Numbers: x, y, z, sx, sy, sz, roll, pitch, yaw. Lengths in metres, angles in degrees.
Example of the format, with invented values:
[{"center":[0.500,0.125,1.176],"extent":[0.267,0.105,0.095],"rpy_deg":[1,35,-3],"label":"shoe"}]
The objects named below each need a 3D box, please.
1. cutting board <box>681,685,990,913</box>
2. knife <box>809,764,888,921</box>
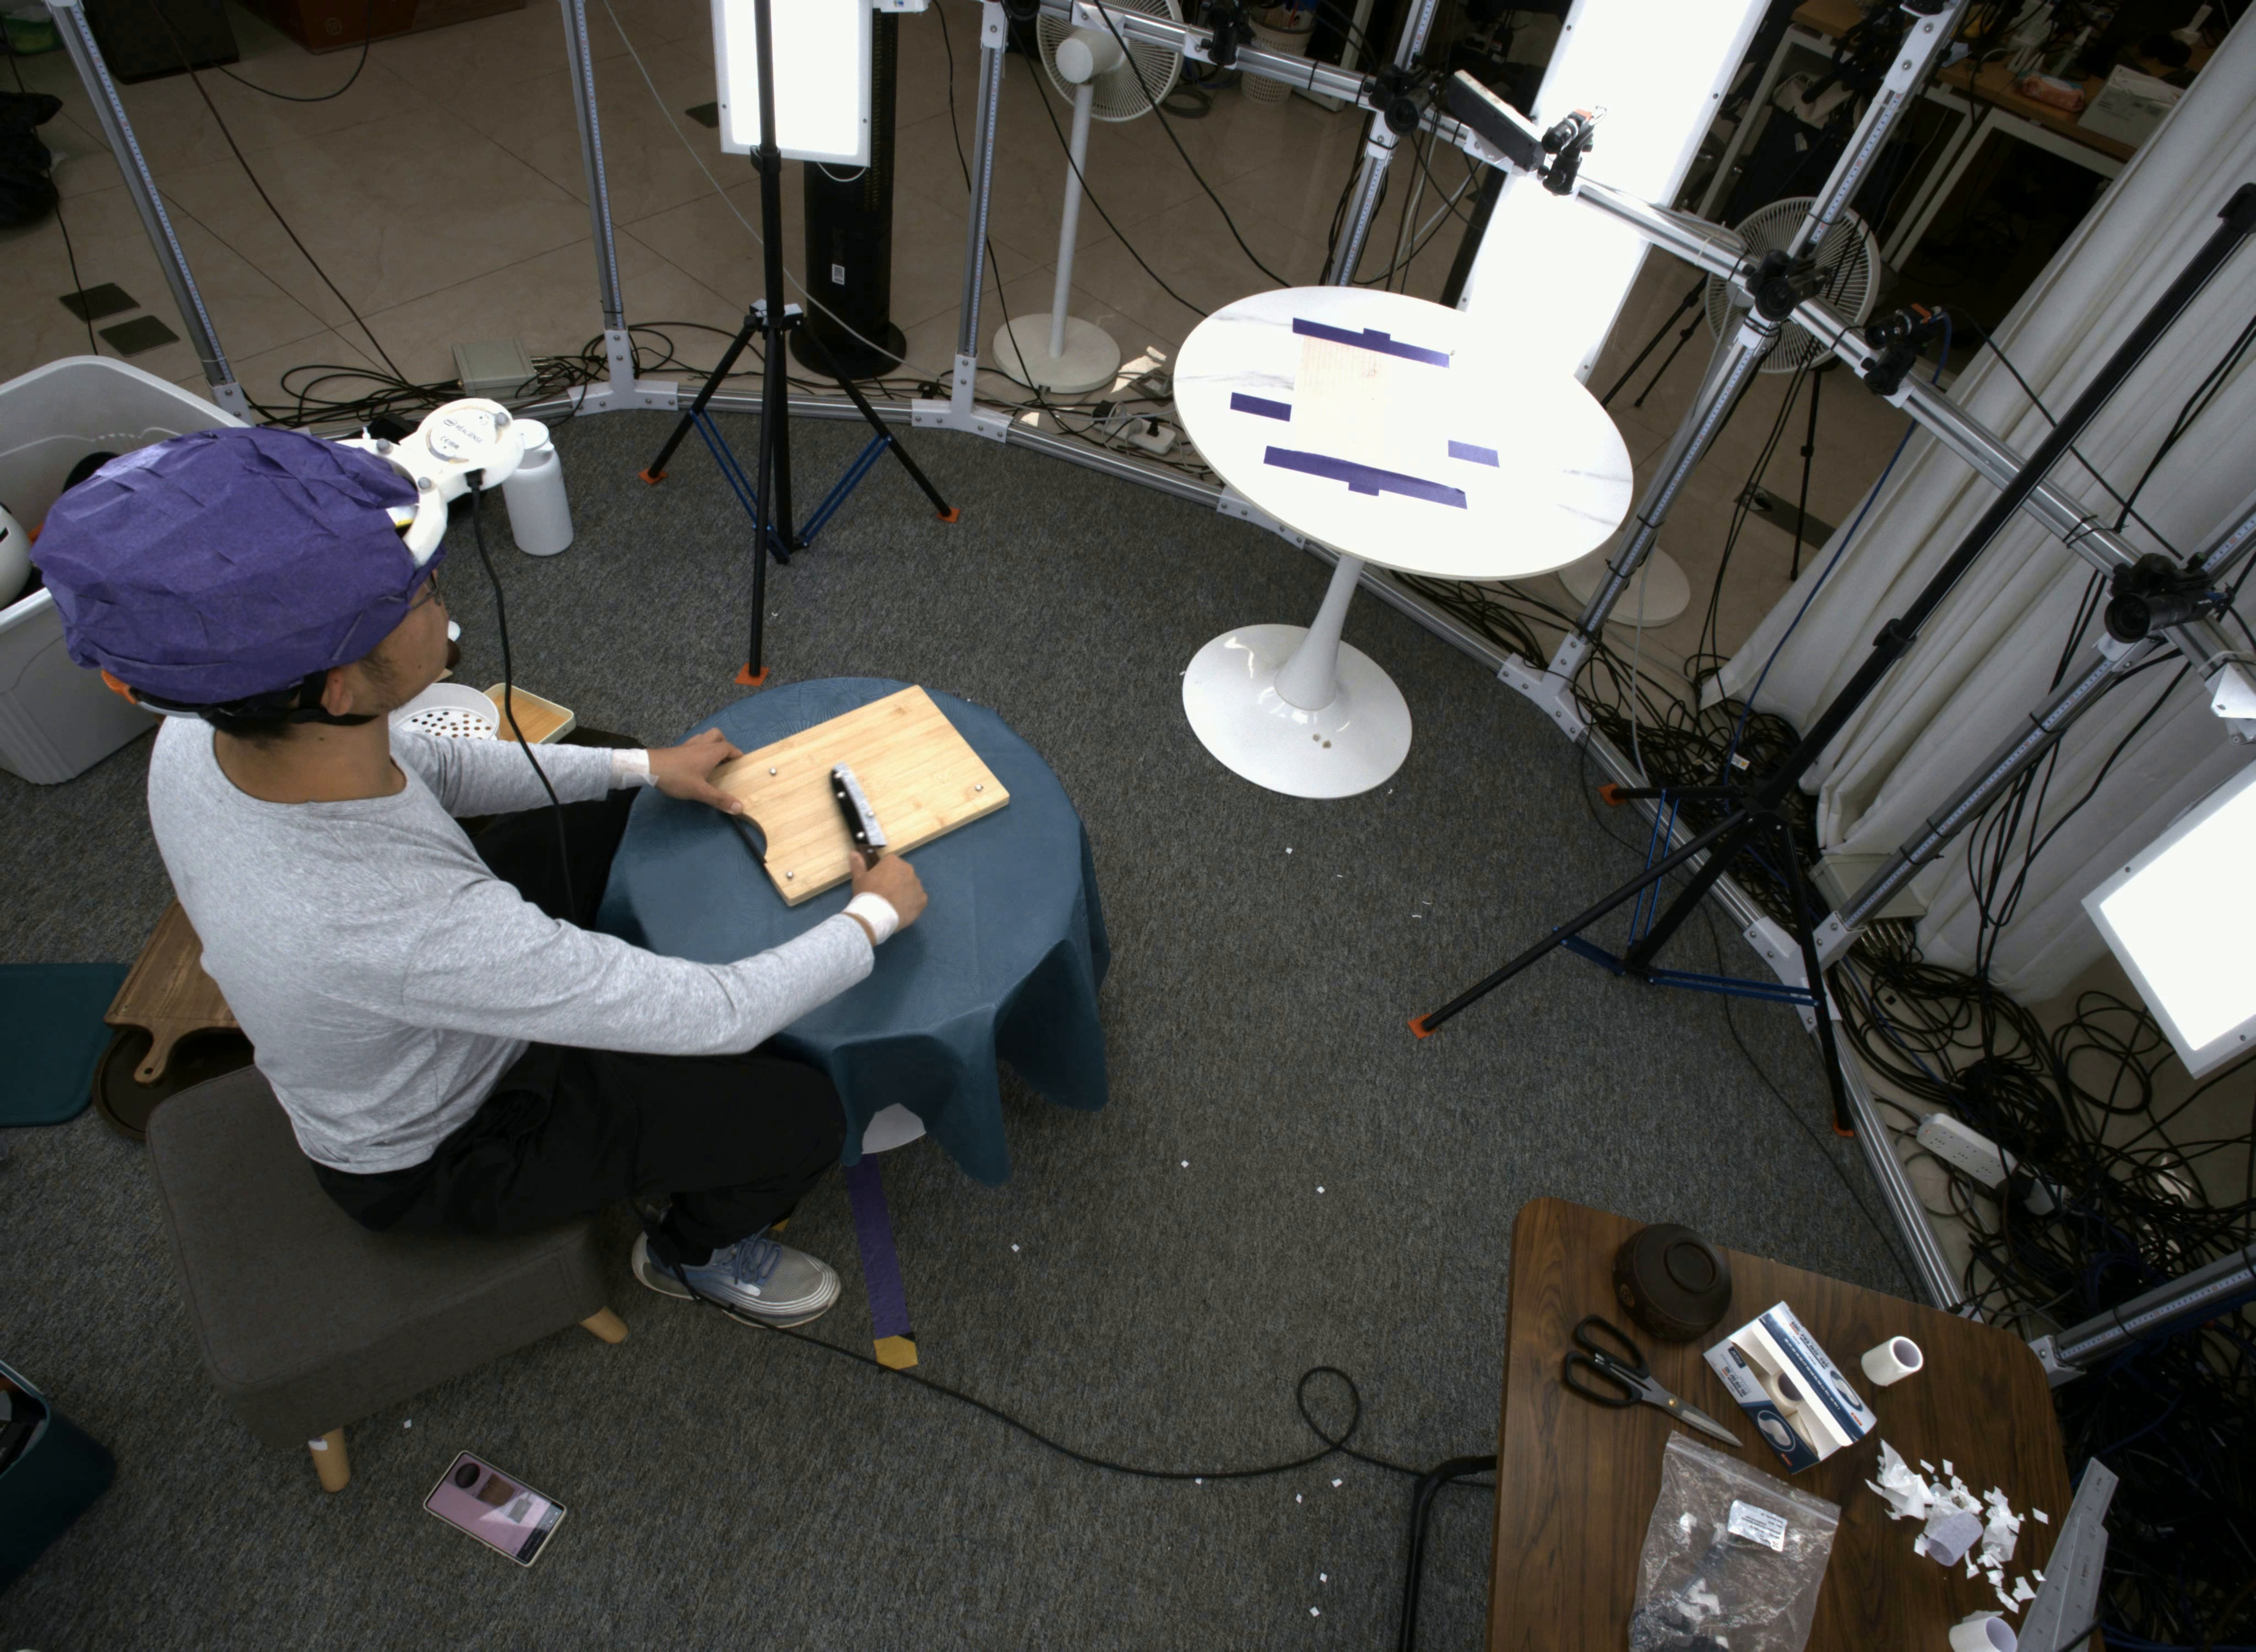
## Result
[{"center":[-0.393,-0.047,1.768],"extent":[0.350,0.024,0.244],"rpy_deg":[-29,65,-30],"label":"cutting board"},{"center":[-0.365,0.013,1.693],"extent":[0.051,0.020,0.280],"rpy_deg":[0,45,-35],"label":"knife"}]
